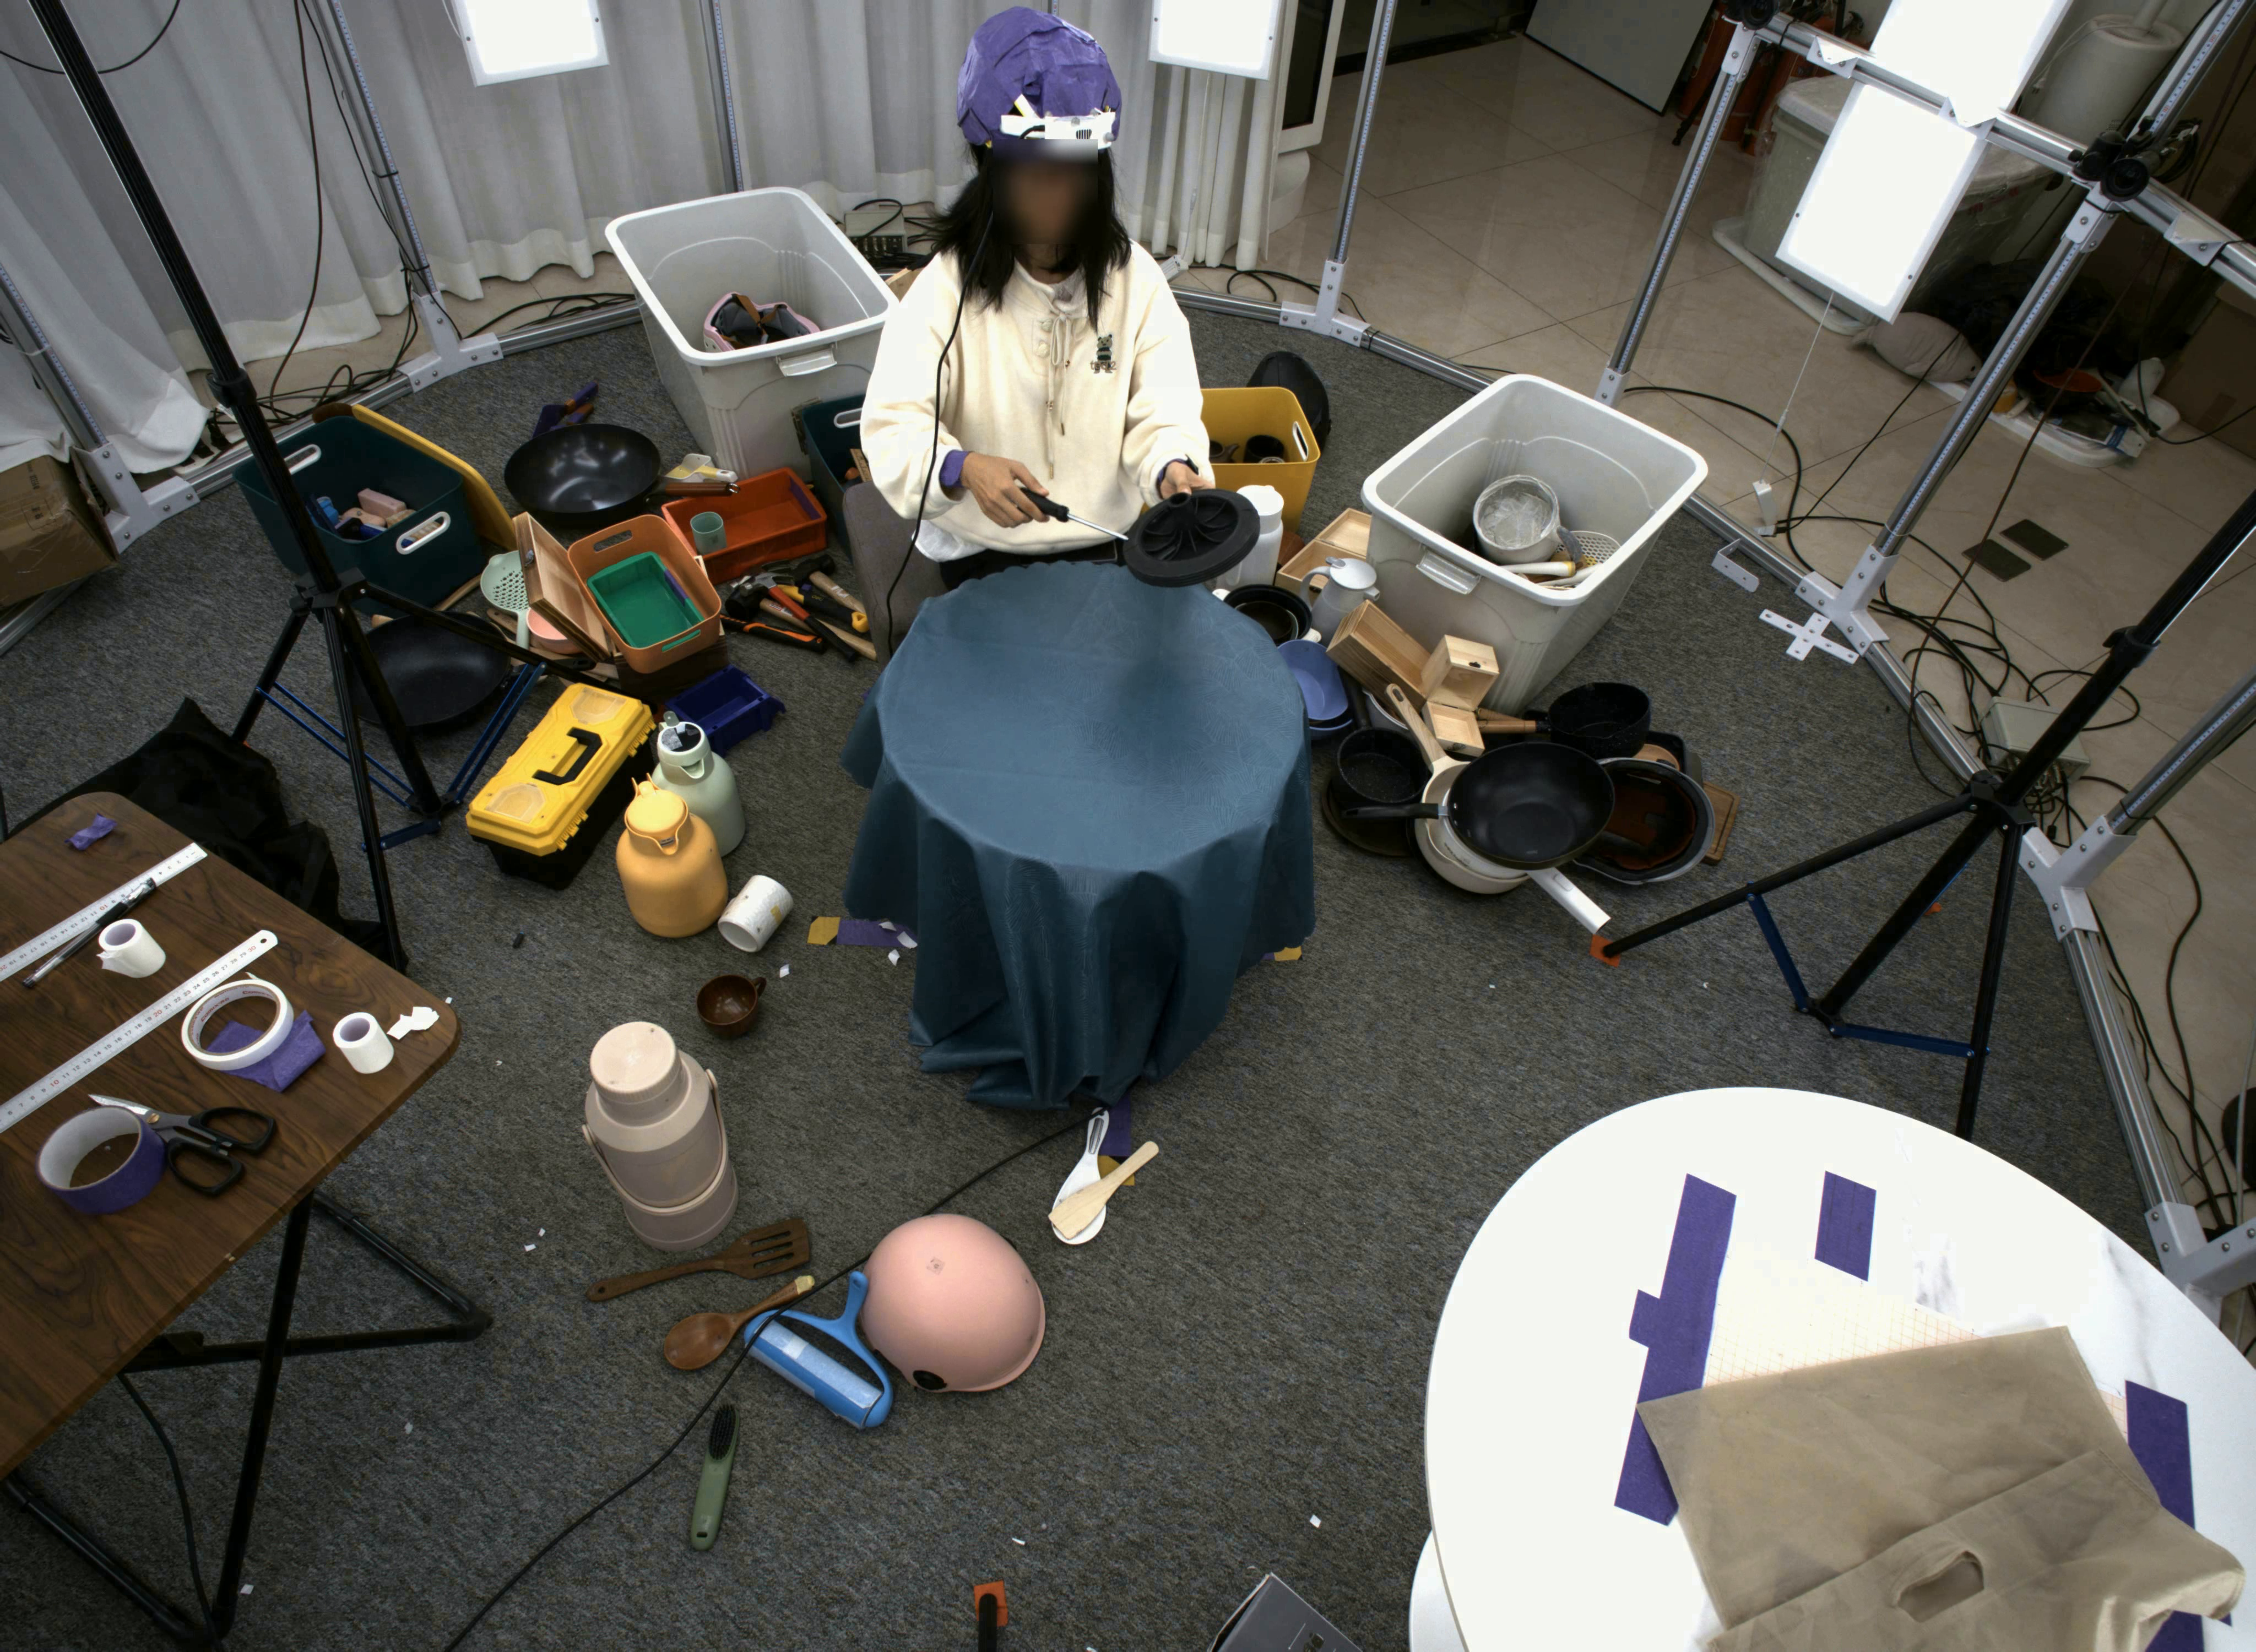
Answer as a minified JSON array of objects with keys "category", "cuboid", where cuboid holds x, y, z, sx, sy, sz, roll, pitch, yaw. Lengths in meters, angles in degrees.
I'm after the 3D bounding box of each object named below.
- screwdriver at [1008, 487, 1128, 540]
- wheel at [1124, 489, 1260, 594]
[{"category":"screwdriver","cuboid":[-0.082,-0.432,1.782,0.198,0.030,0.032,23,51,24]},{"category":"wheel","cuboid":[0.078,-0.398,1.717,0.189,0.077,0.193,12,57,31]}]
